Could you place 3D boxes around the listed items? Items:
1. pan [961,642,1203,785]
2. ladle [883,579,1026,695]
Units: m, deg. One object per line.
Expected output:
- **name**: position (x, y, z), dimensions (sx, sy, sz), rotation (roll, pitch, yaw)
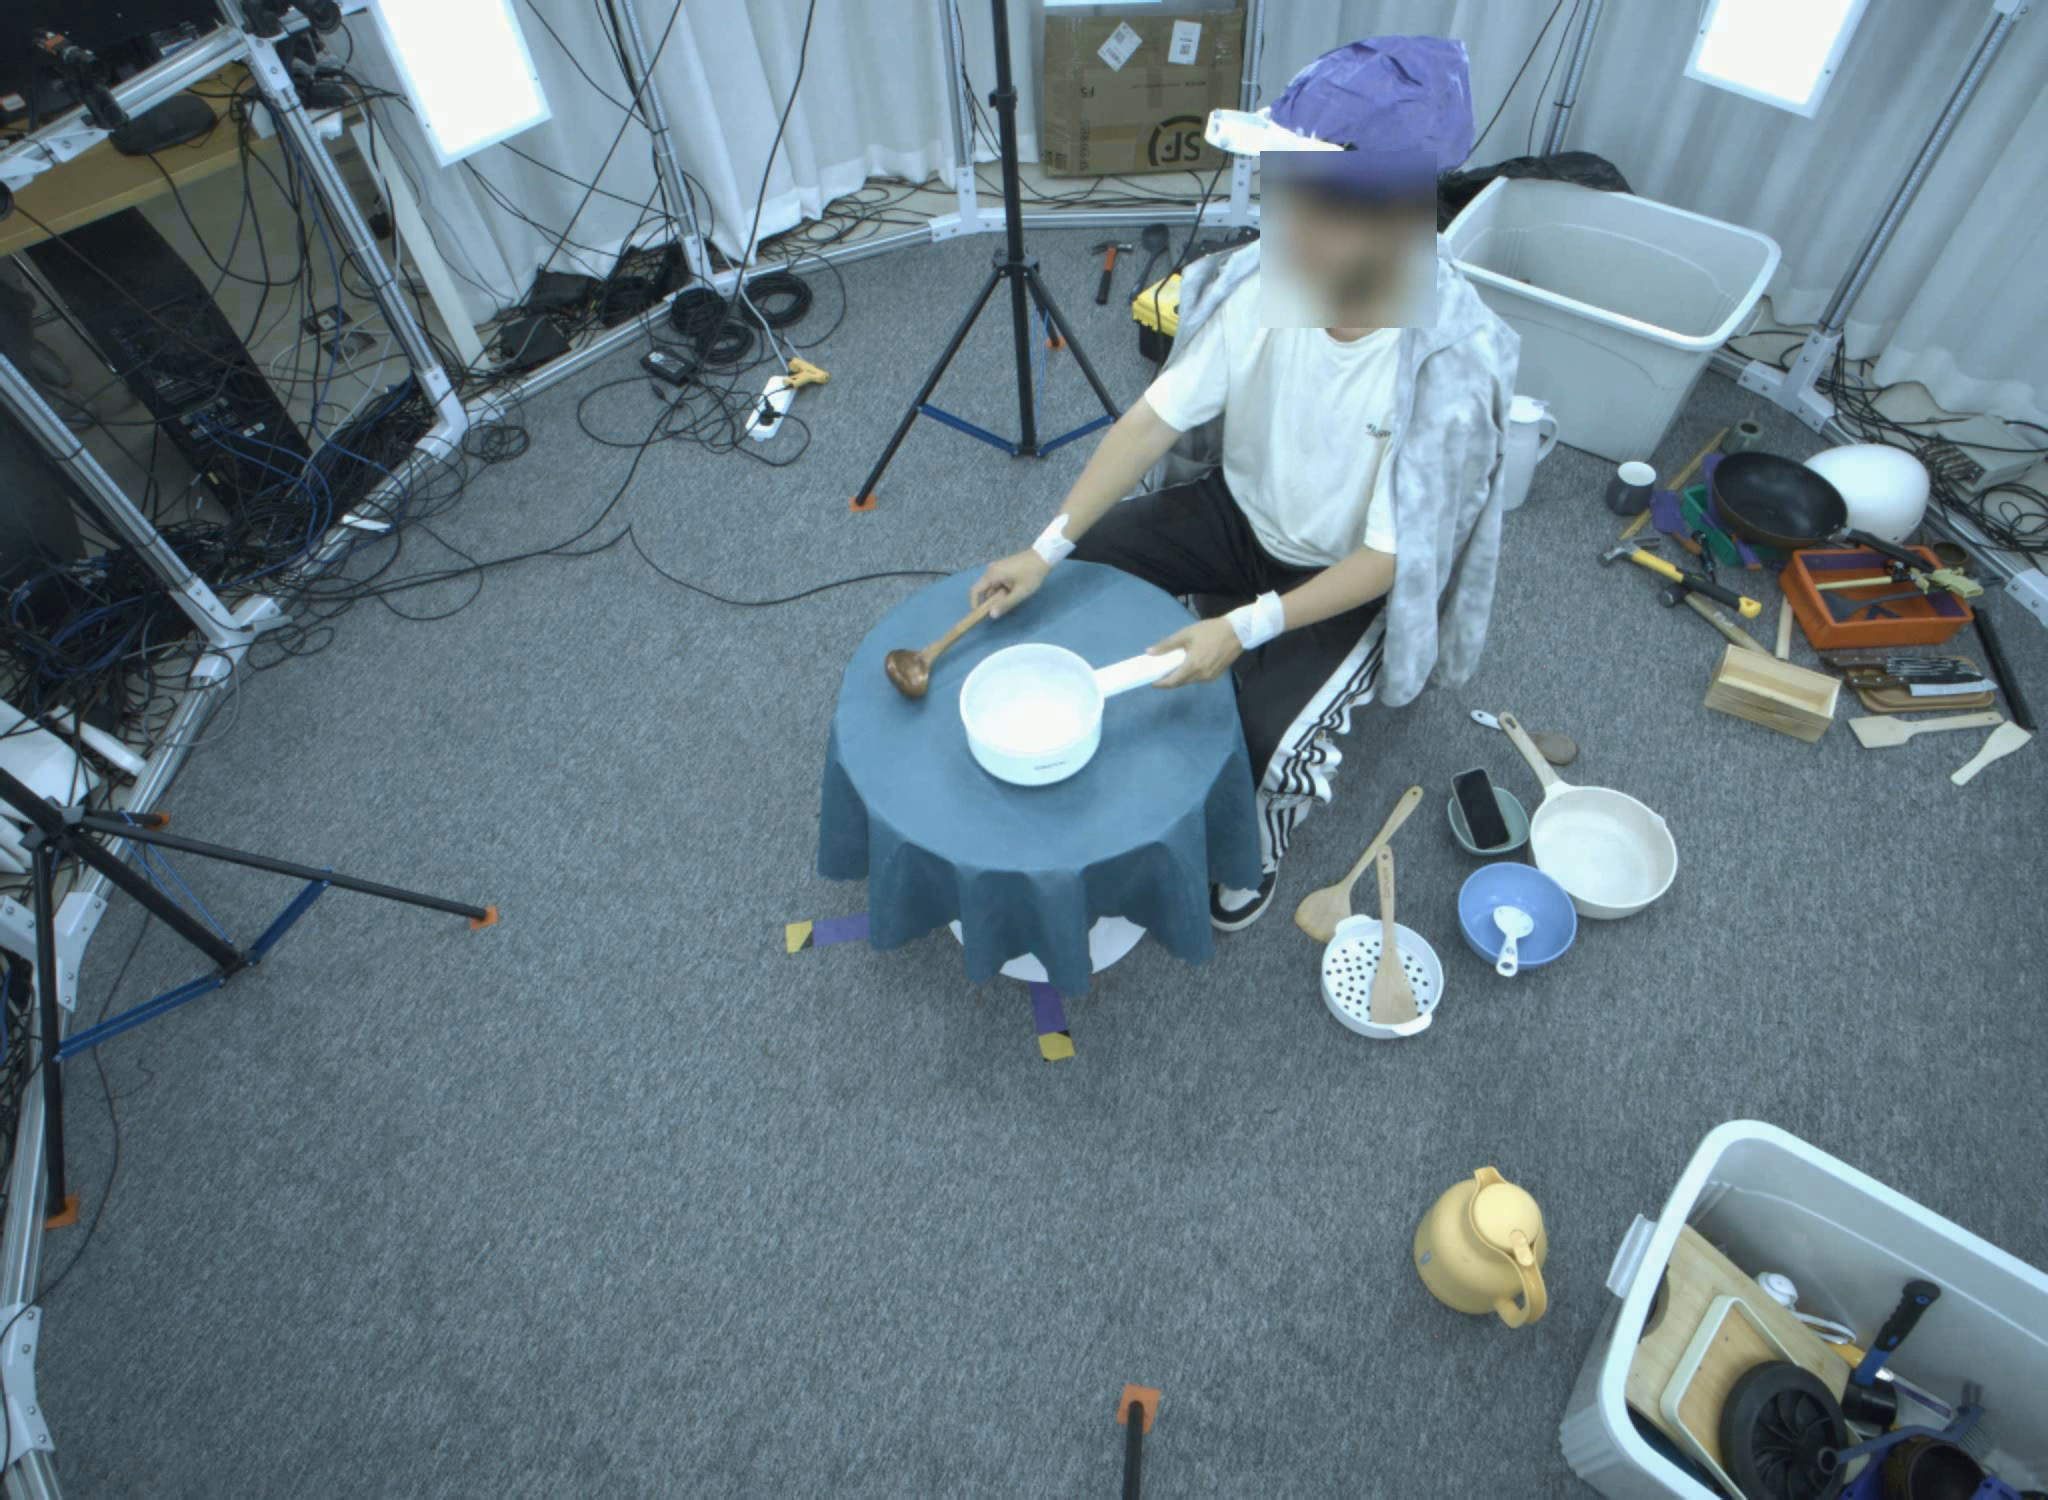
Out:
- **pan**: position (0.086, -0.068, 1.775), dimensions (0.357, 0.103, 0.197), rotation (-17, 55, -11)
- **ladle**: position (-0.098, -0.182, 1.859), dimensions (0.275, 0.075, 0.083), rotation (-38, 107, -15)
